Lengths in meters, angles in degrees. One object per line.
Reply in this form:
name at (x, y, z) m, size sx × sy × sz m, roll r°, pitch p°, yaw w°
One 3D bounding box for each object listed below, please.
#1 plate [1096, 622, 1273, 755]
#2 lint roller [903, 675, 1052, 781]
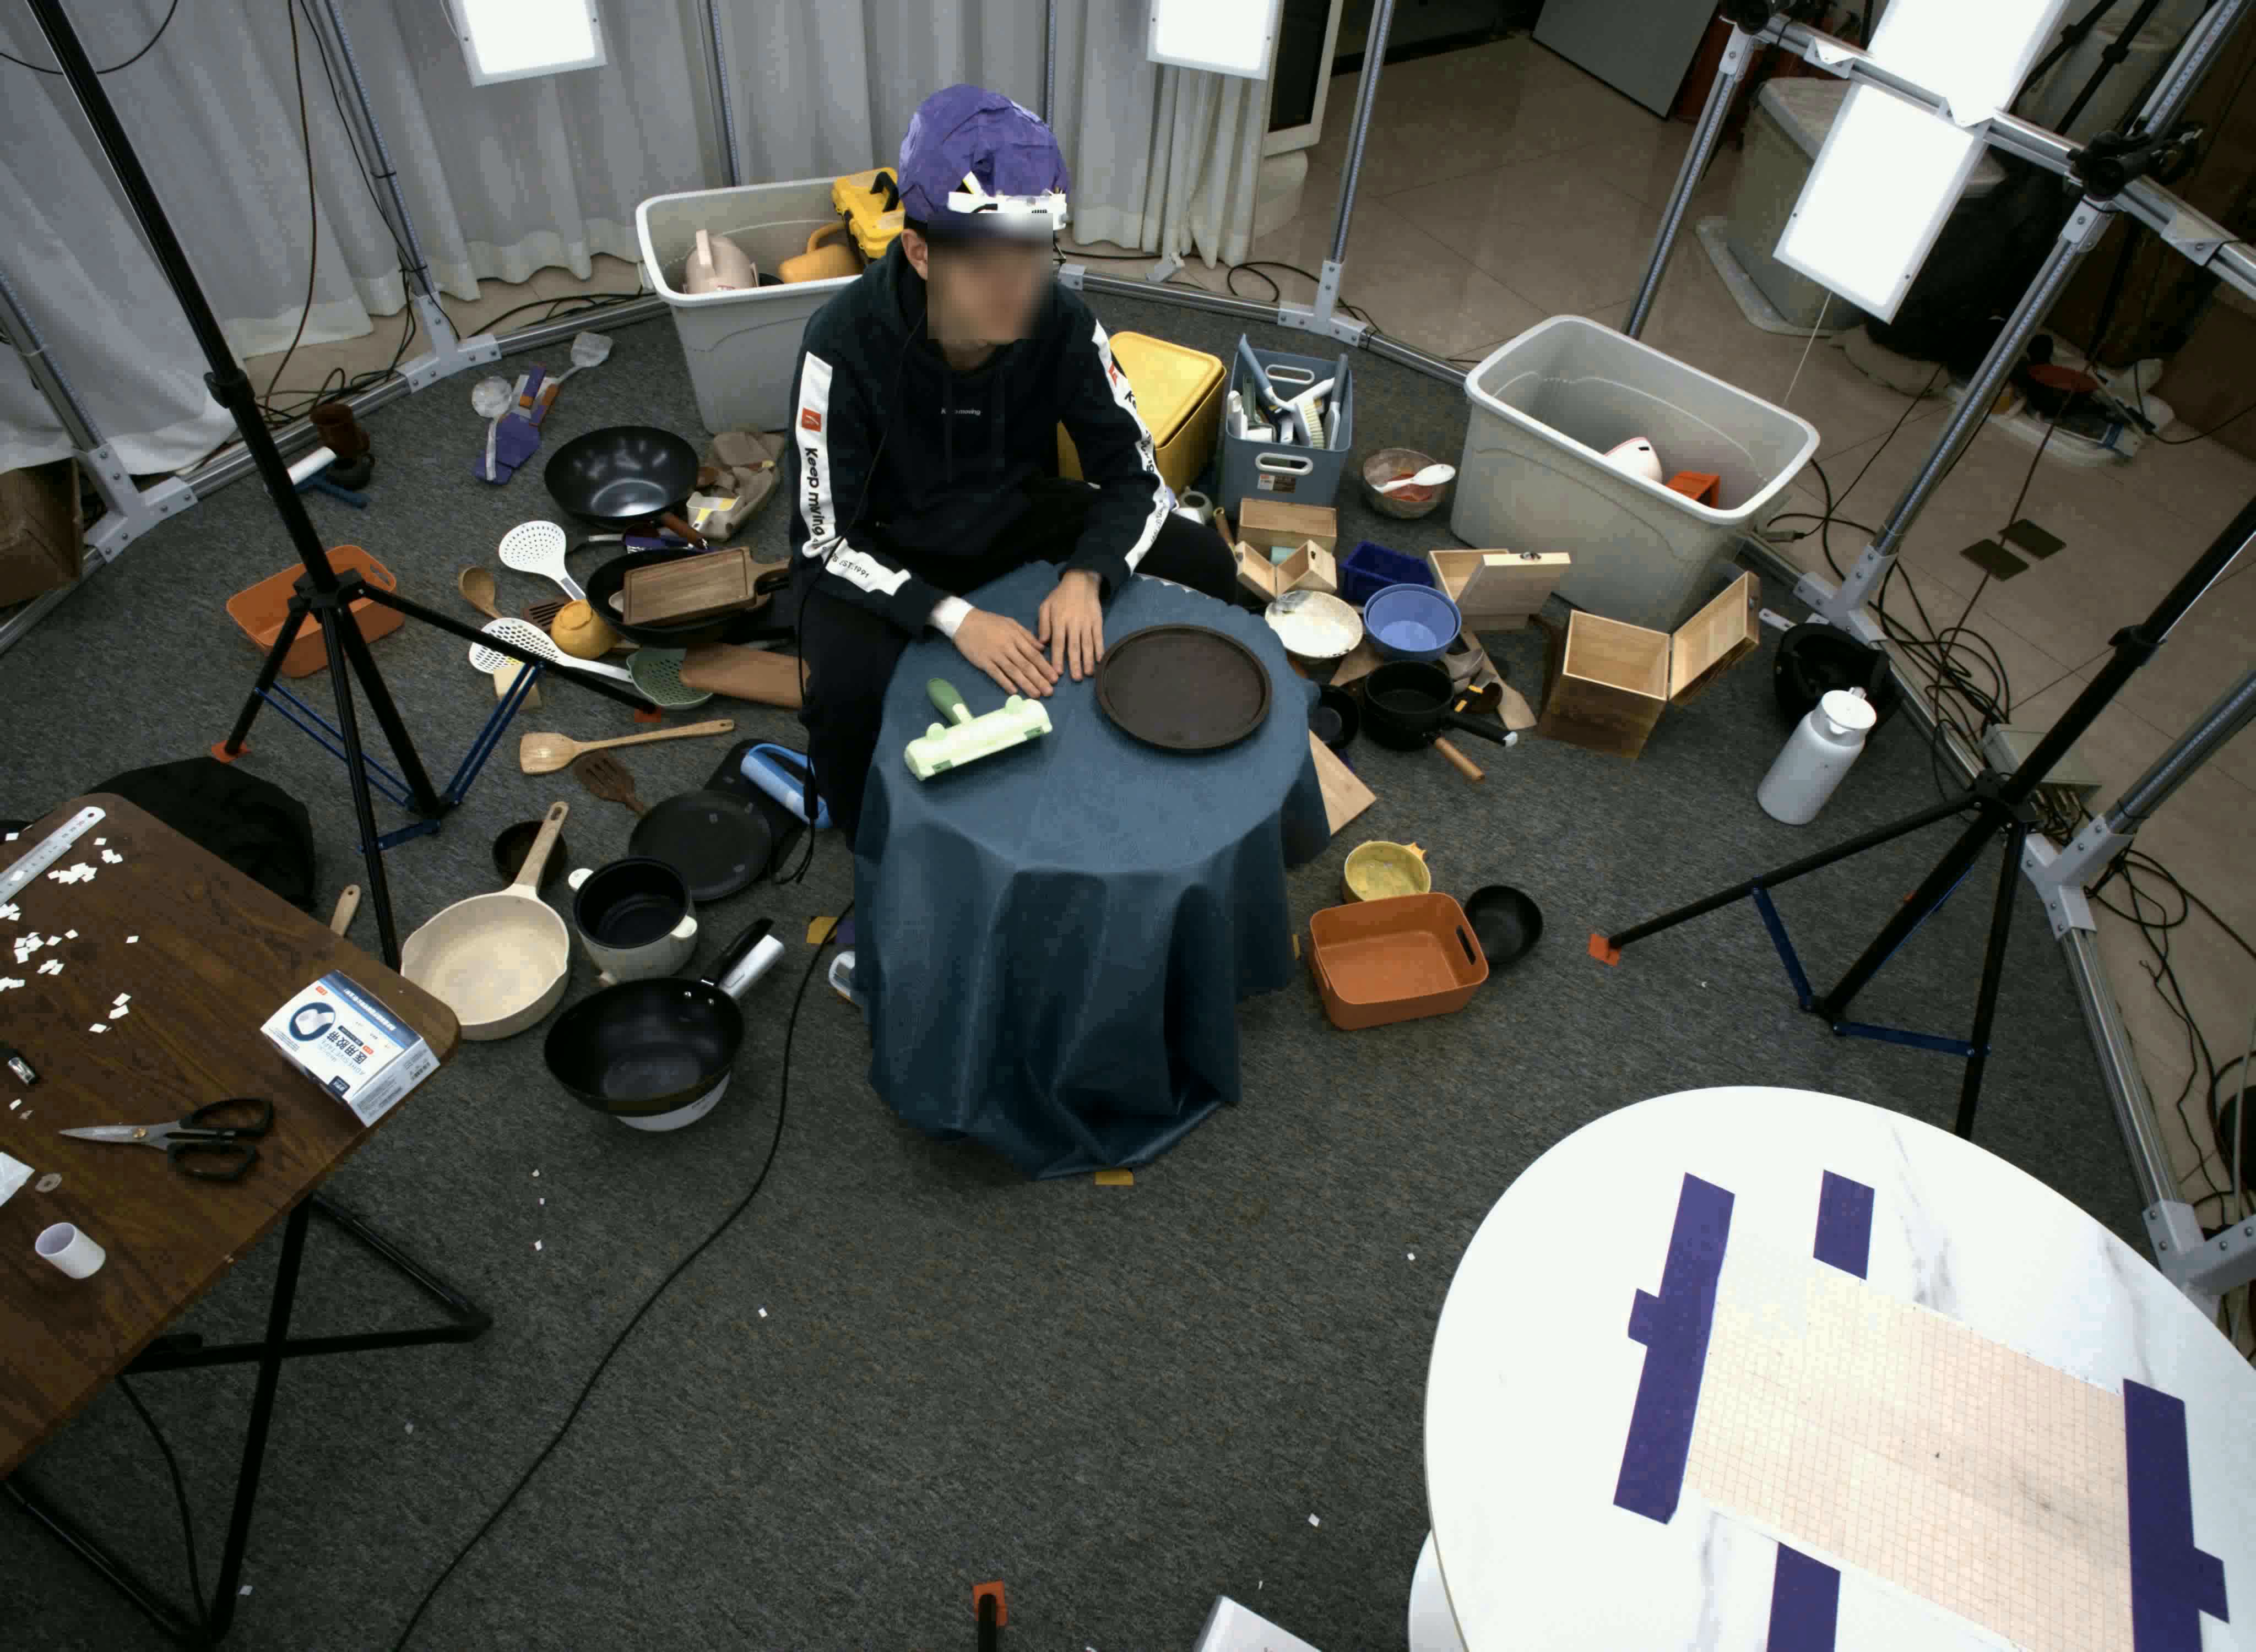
plate at (0.079, -0.196, 1.827) m, size 0.254 × 0.028 × 0.261 m, roll 1°, pitch 50°, yaw -1°
lint roller at (-0.228, -0.160, 1.741) m, size 0.199 × 0.080 × 0.187 m, roll -22°, pitch 57°, yaw -21°
